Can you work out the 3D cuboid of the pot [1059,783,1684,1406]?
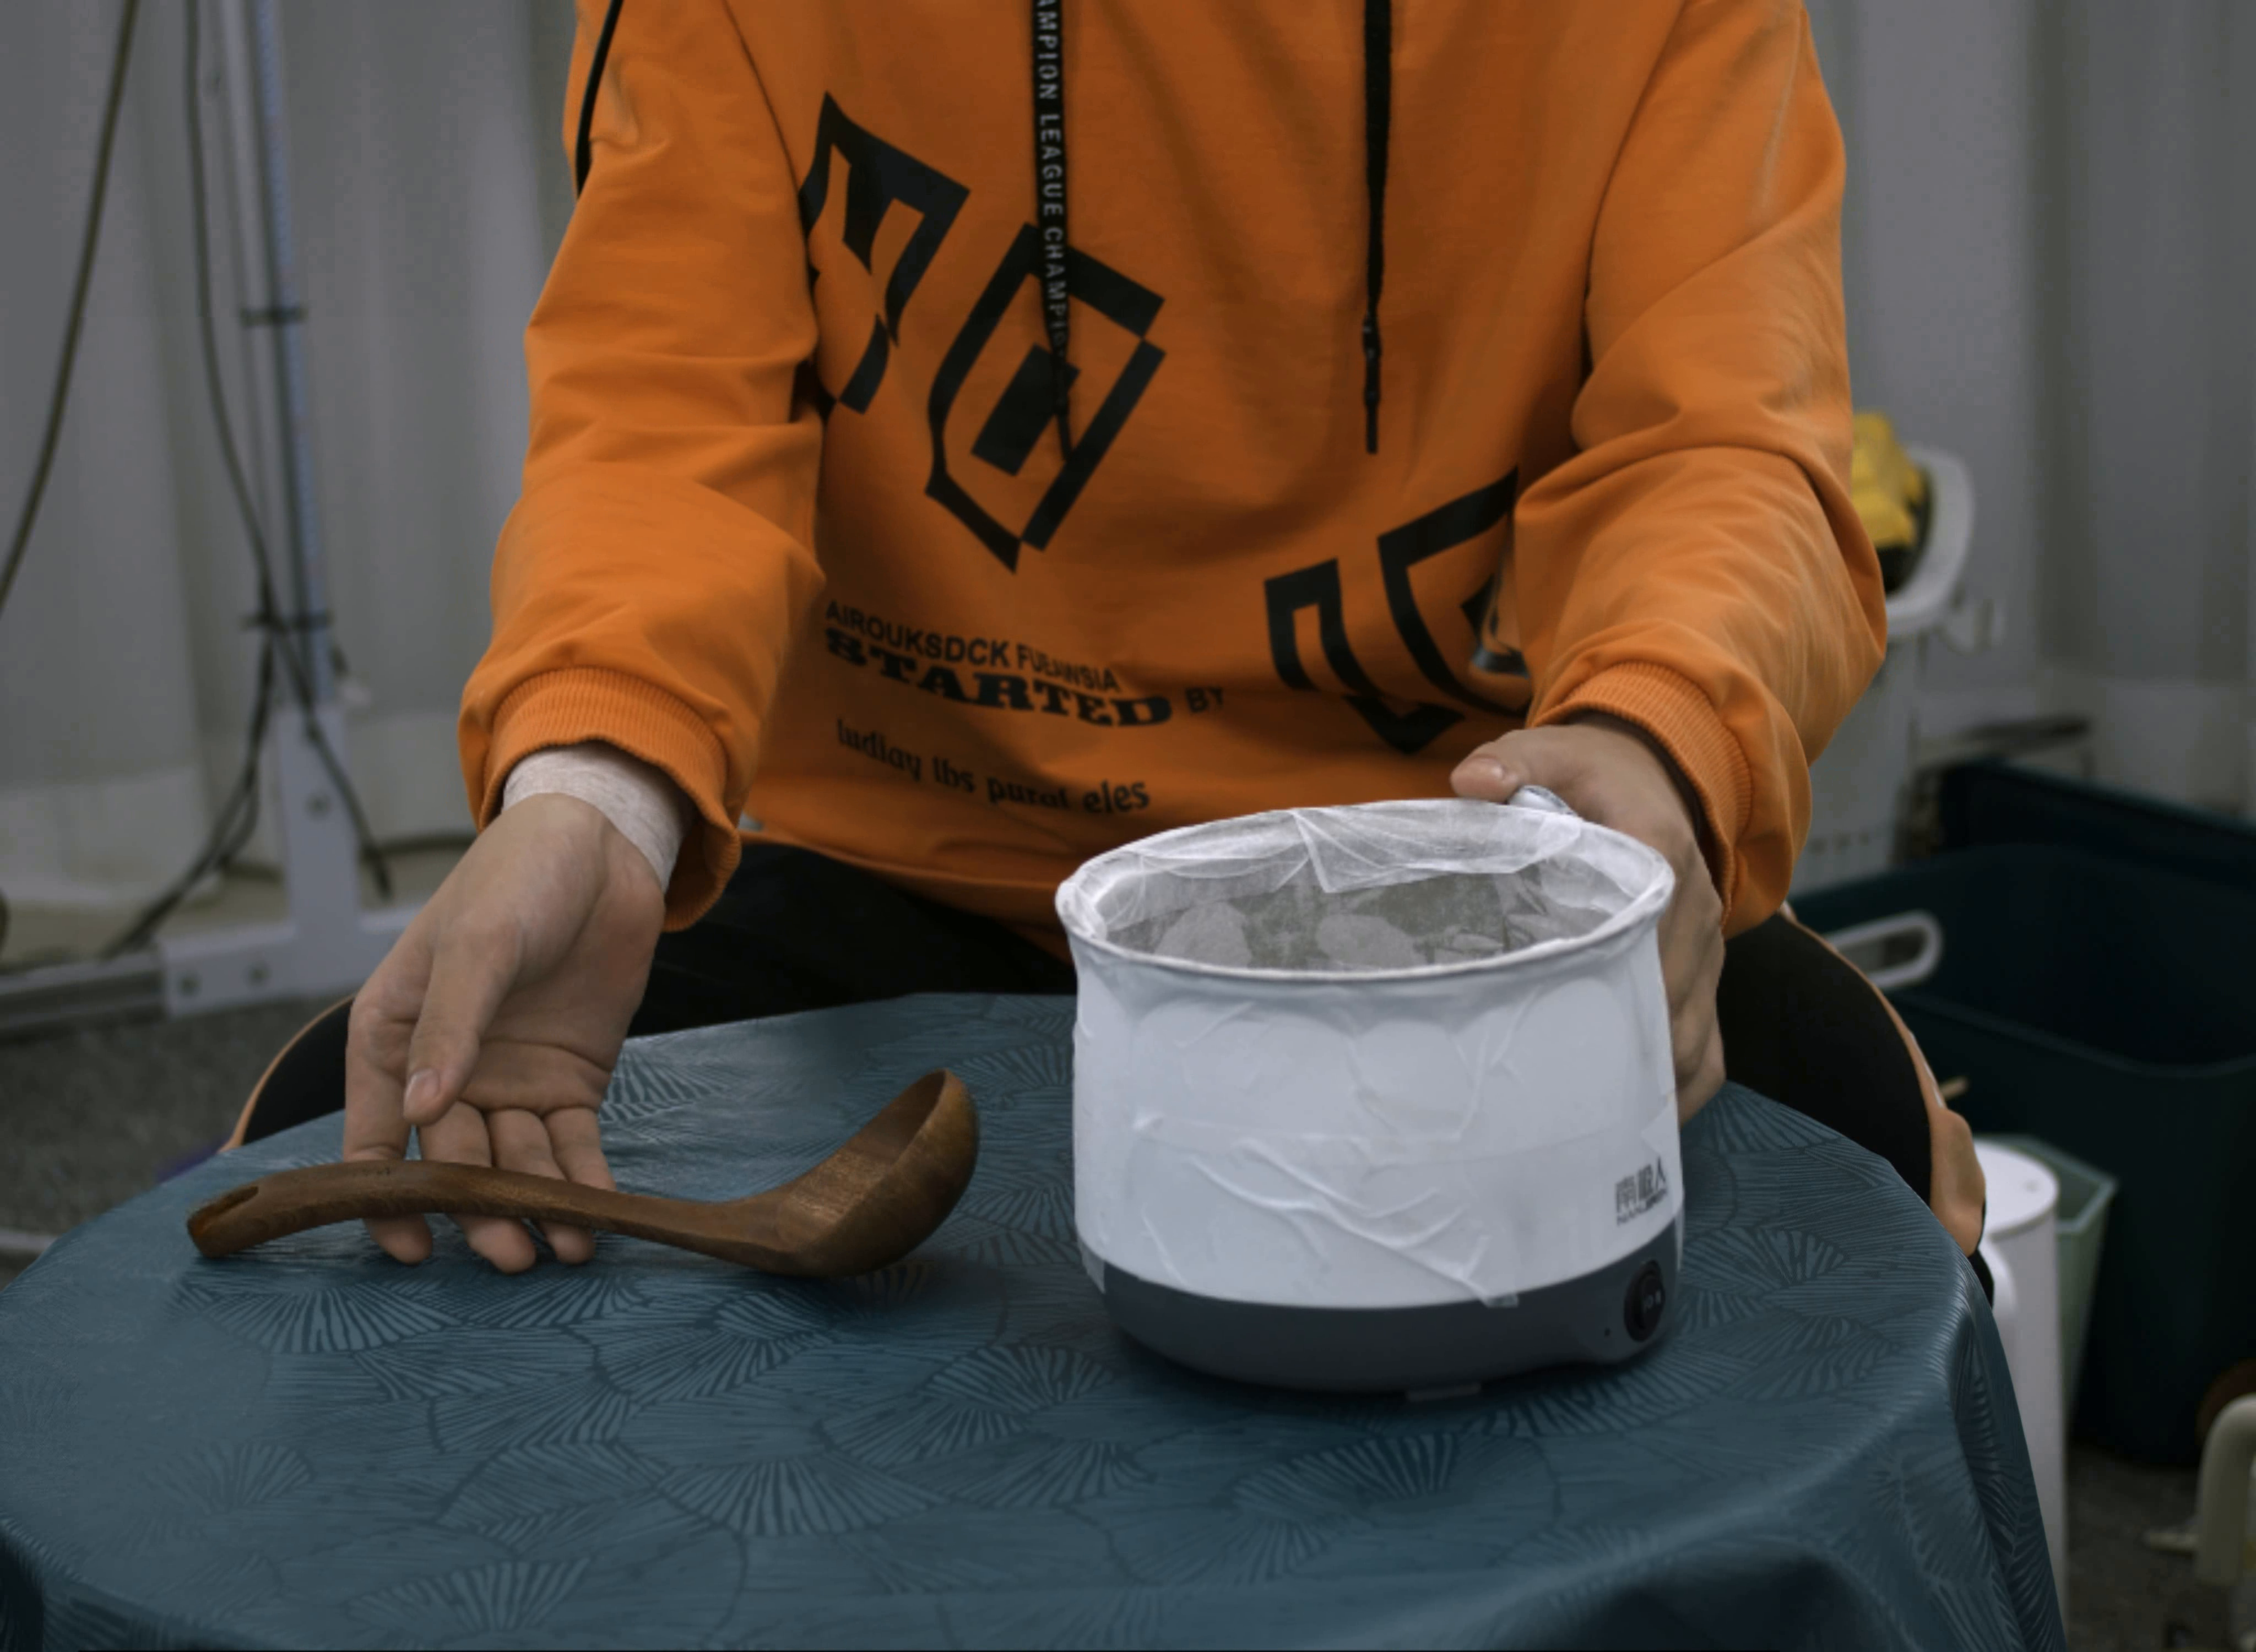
[{"bbox_3d":[0.085,0.071,1.598,0.179,0.136,0.234,7,18,31],"label":"pot"}]

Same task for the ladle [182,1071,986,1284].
[{"bbox_3d":[-0.169,0.105,1.664,0.260,0.064,0.077,1,21,14],"label":"ladle"}]
